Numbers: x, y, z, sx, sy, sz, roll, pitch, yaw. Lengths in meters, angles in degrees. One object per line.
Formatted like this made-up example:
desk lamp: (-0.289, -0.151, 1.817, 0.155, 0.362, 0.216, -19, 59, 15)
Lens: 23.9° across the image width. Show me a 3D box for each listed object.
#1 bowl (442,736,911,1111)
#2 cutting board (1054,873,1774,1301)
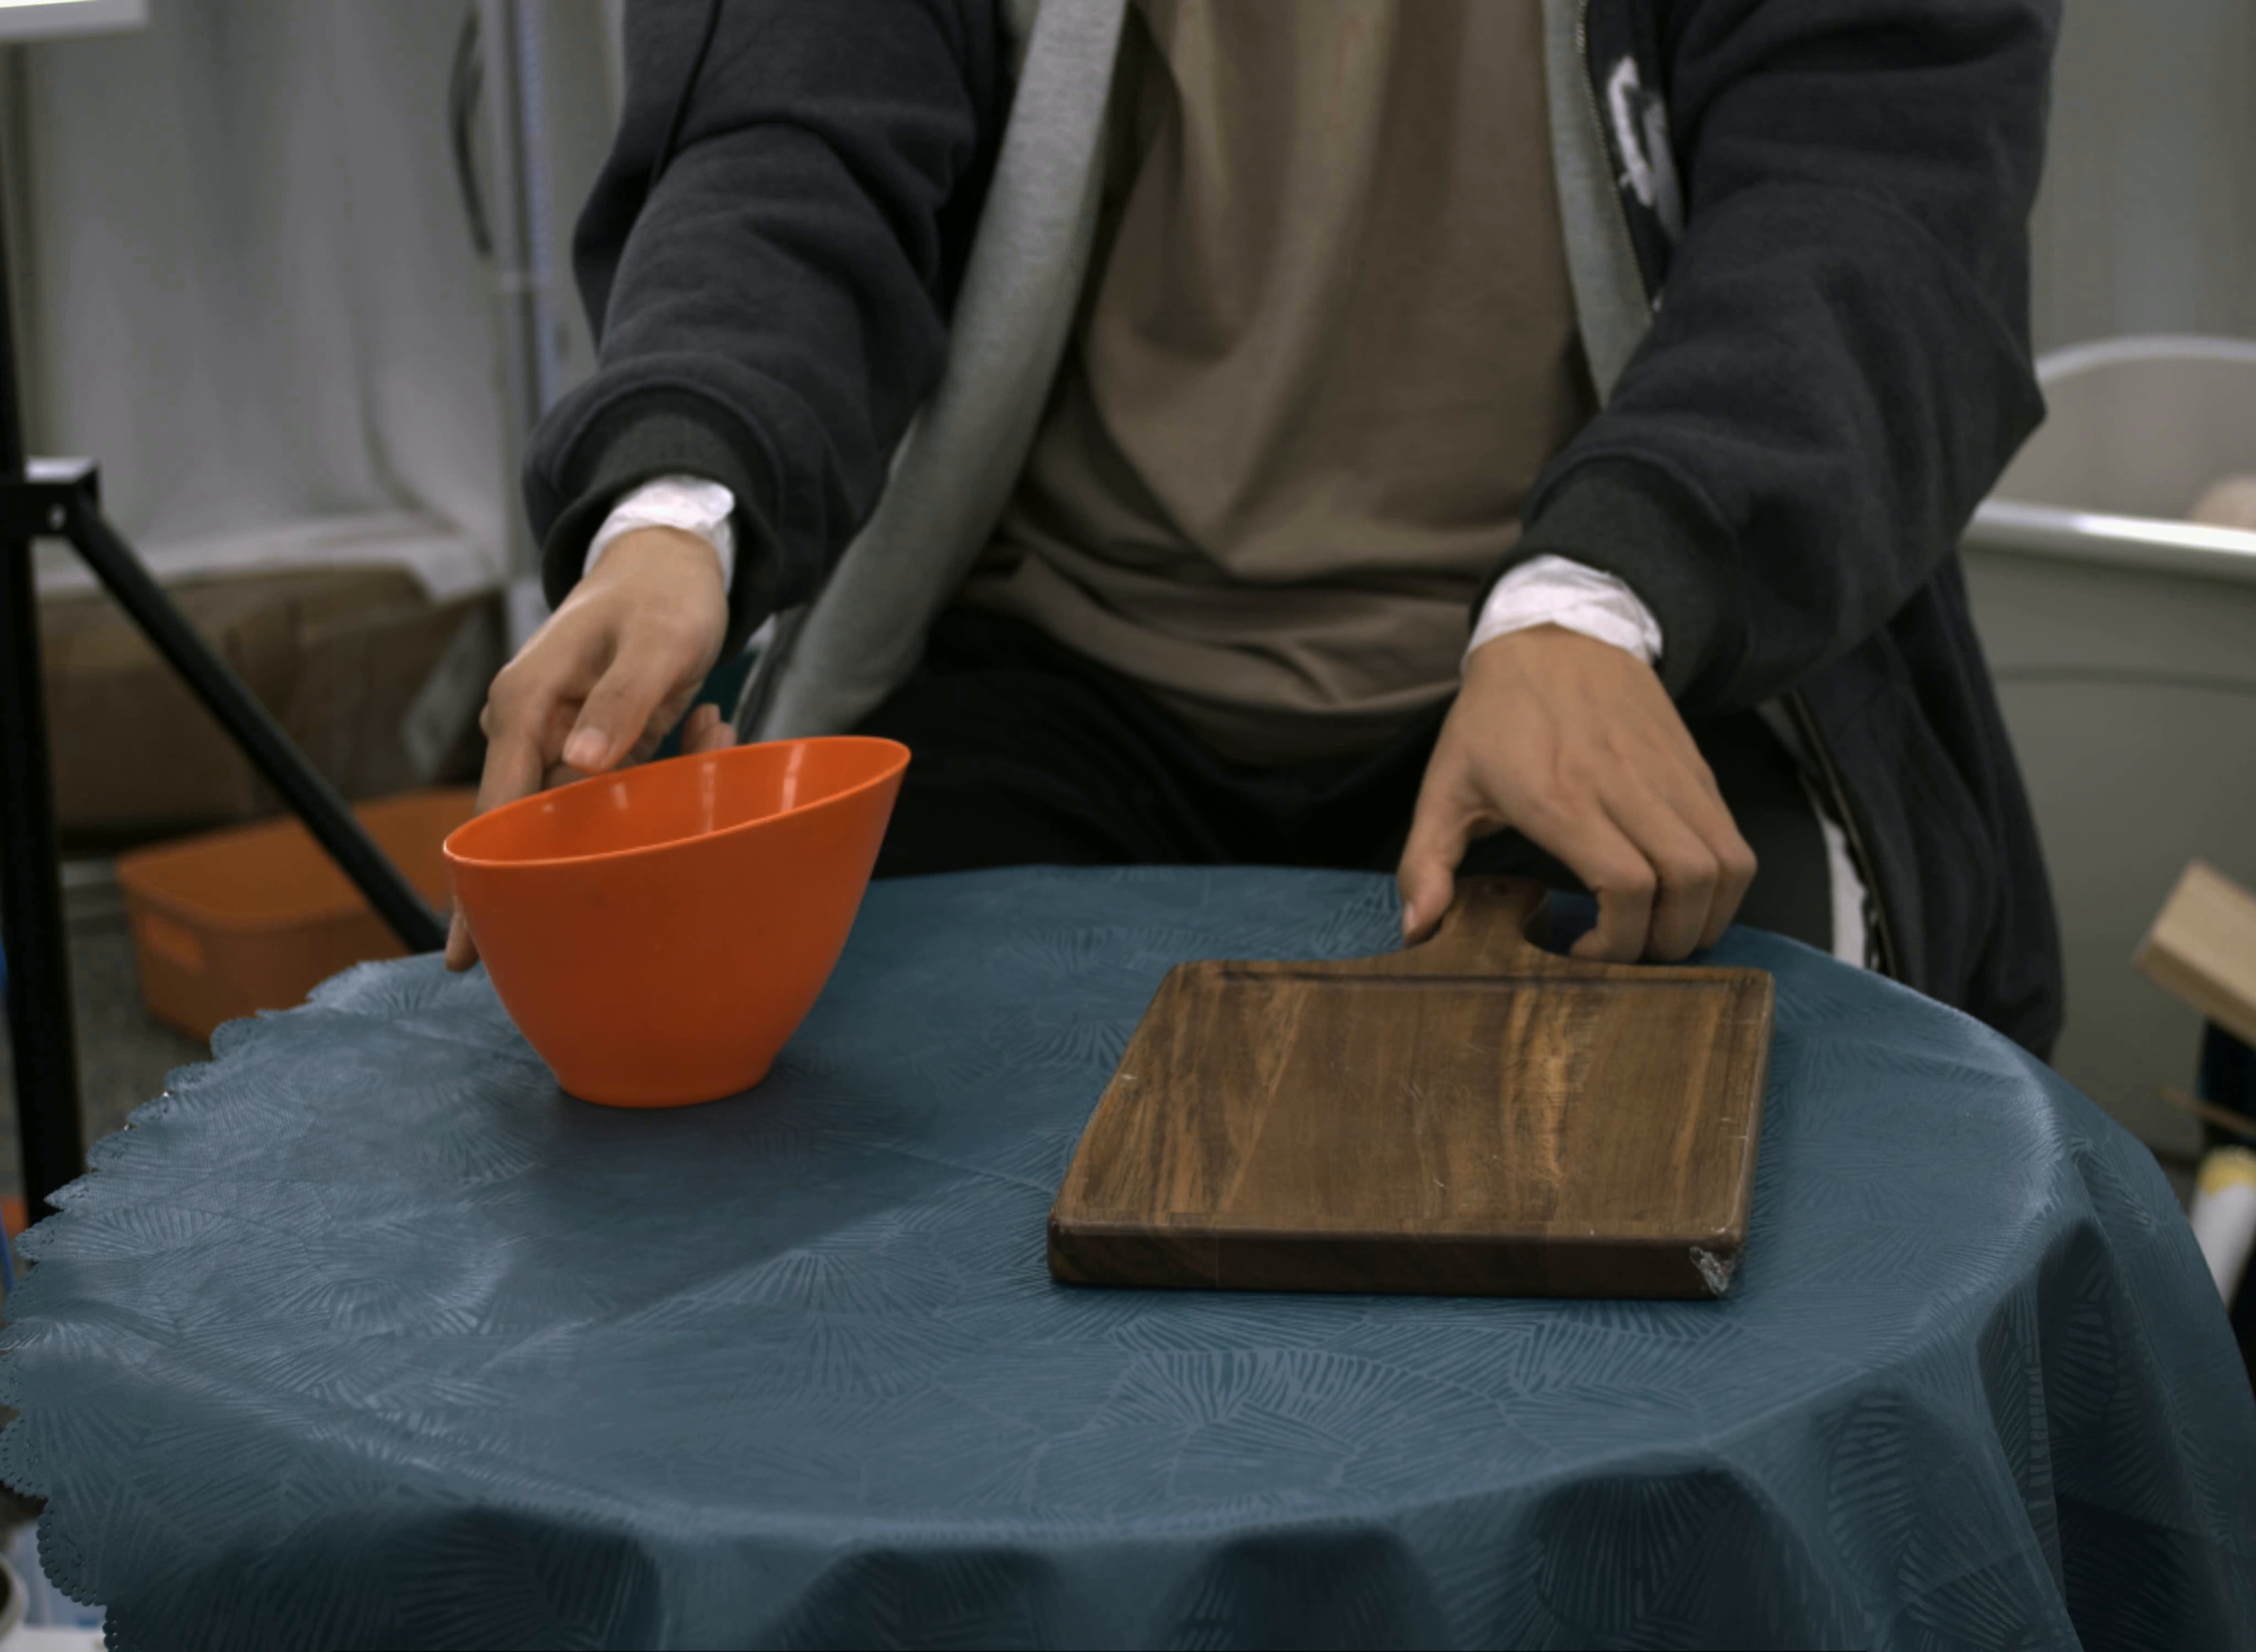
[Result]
bowl: (-0.139, 0.031, 1.669, 0.147, 0.104, 0.149, -3, 17, -1)
cutting board: (0.099, 0.074, 1.628, 0.202, 0.023, 0.351, 0, 16, 9)
